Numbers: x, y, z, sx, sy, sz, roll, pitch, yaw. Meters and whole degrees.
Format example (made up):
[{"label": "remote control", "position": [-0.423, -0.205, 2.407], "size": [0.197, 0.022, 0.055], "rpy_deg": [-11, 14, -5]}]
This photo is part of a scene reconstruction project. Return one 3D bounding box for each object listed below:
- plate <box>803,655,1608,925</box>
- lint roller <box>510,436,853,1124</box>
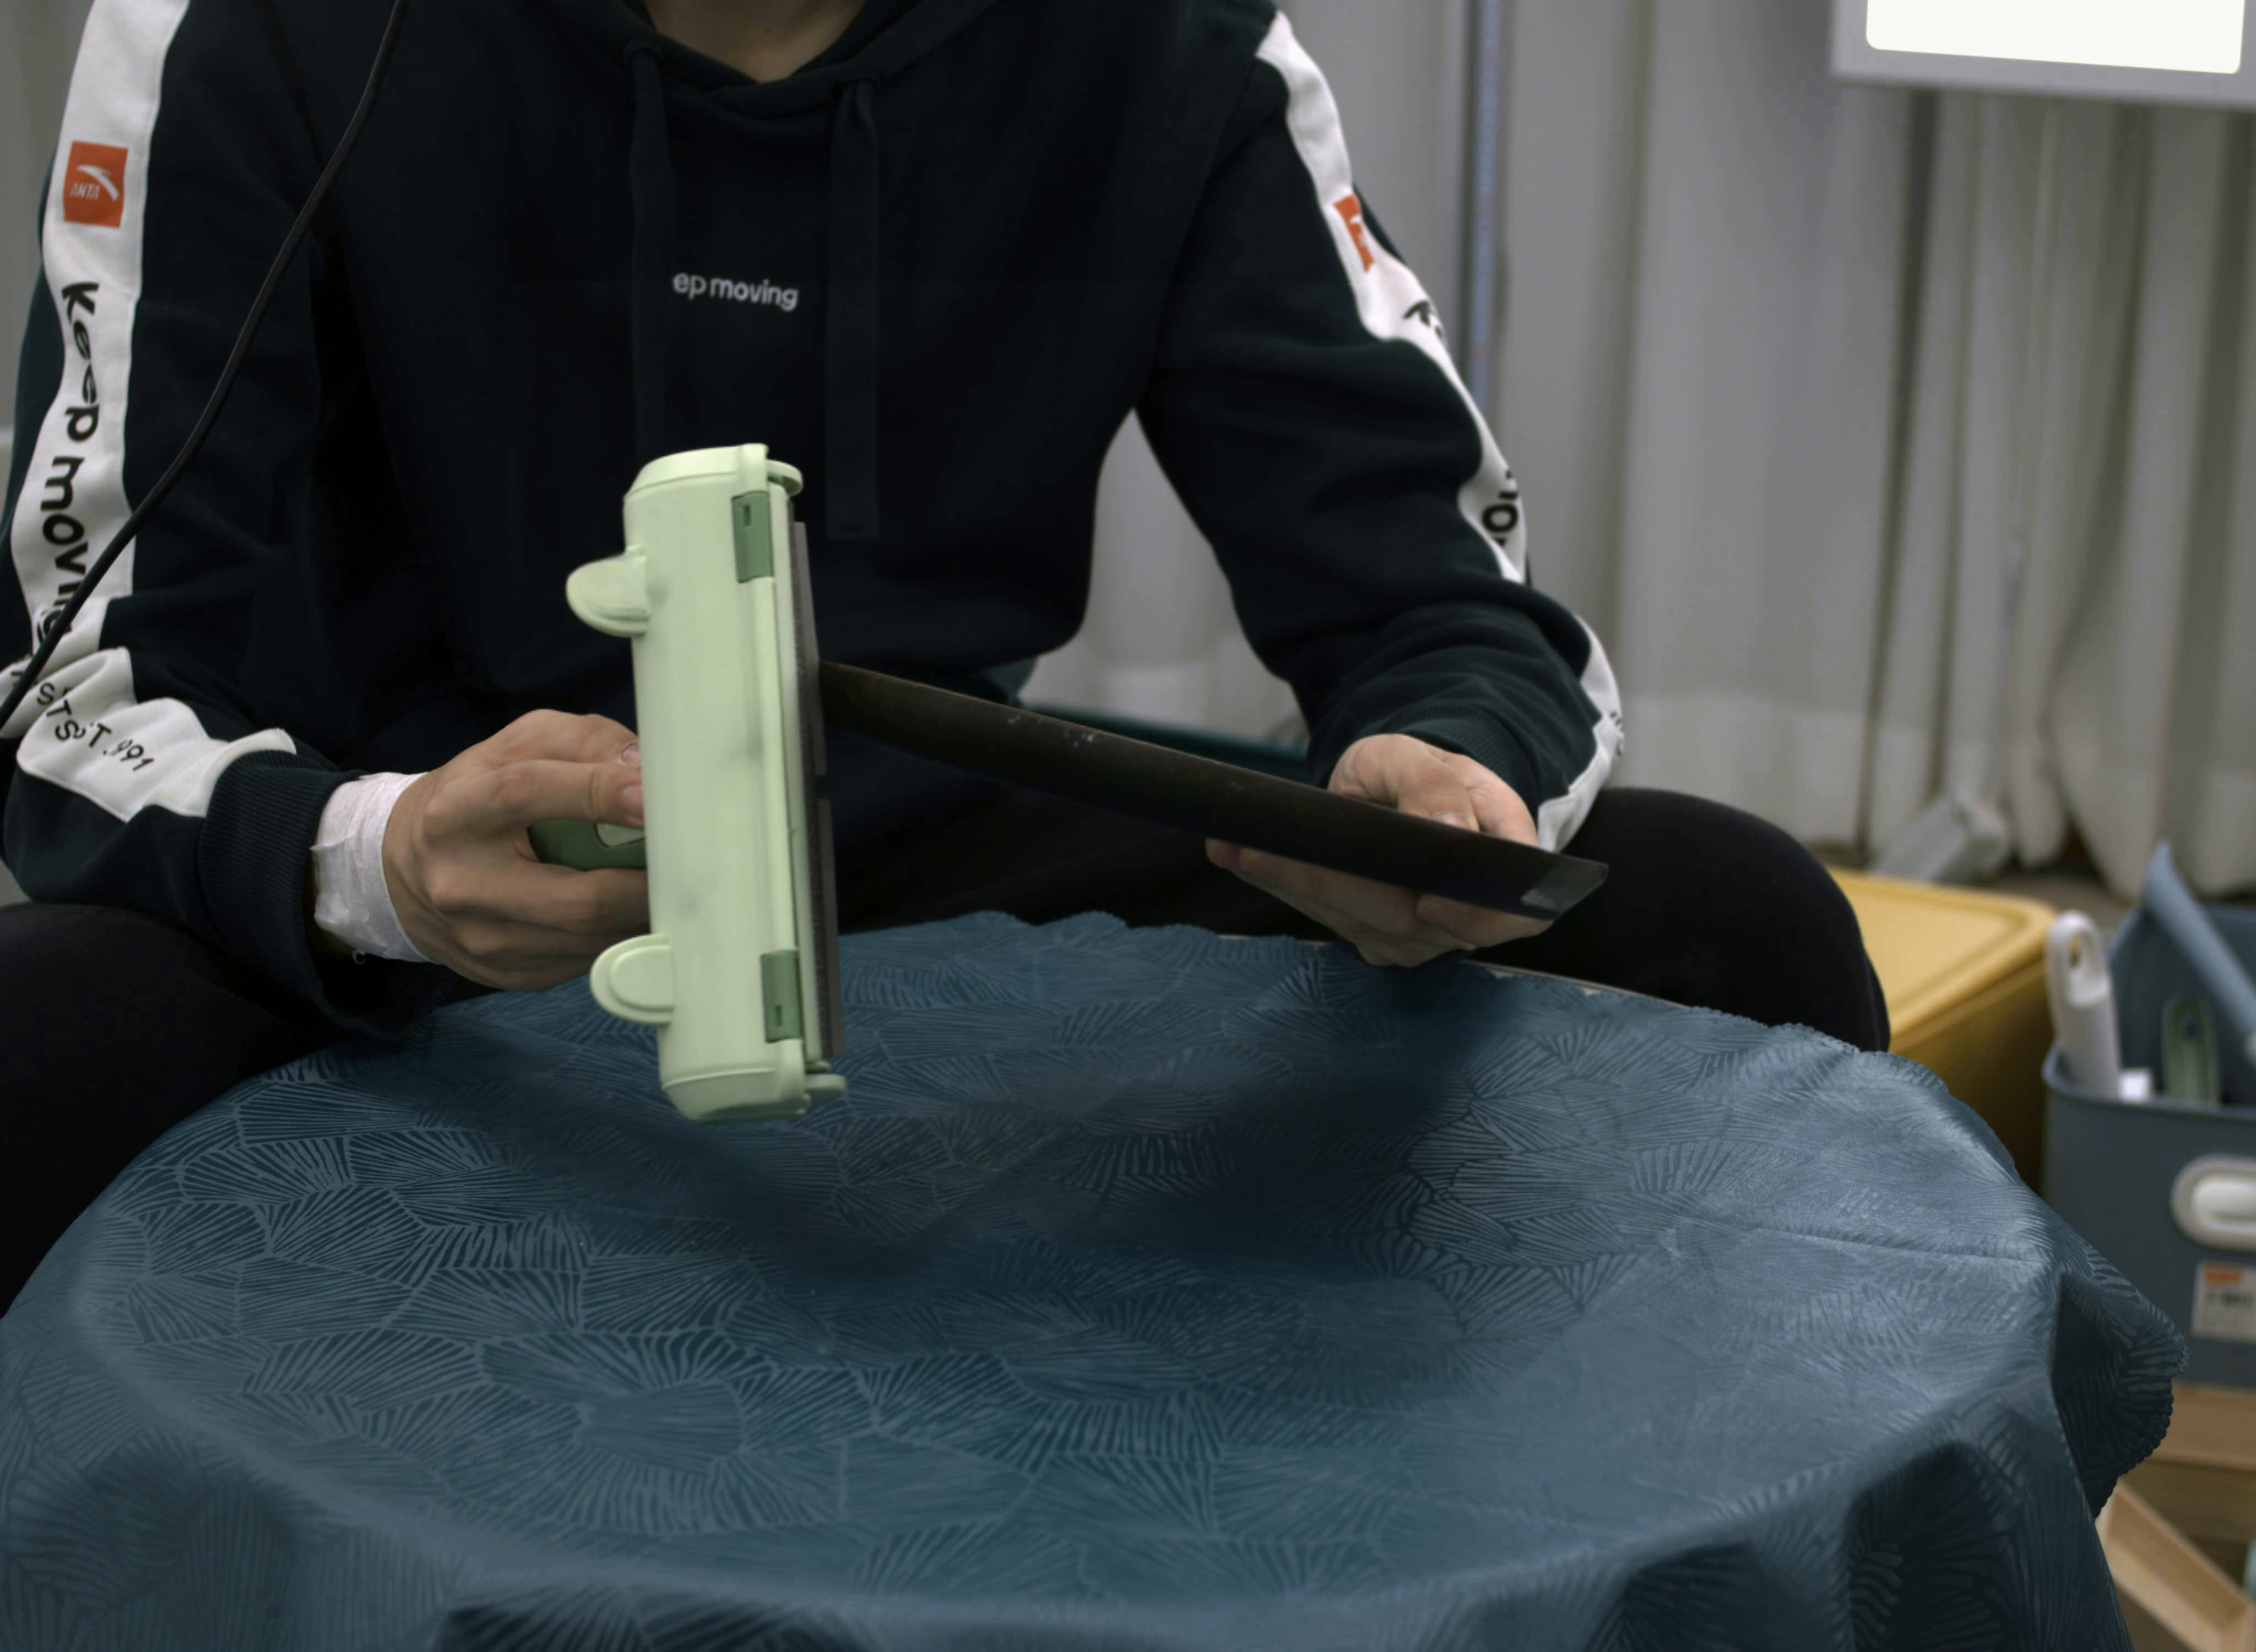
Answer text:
[{"label": "plate", "position": [0.022, -0.011, 1.596], "size": [0.254, 0.029, 0.254], "rpy_deg": [14, 2, 0]}, {"label": "lint roller", "position": [-0.156, -0.002, 1.573], "size": [0.083, 0.198, 0.182], "rpy_deg": [3, -13, -40]}]
